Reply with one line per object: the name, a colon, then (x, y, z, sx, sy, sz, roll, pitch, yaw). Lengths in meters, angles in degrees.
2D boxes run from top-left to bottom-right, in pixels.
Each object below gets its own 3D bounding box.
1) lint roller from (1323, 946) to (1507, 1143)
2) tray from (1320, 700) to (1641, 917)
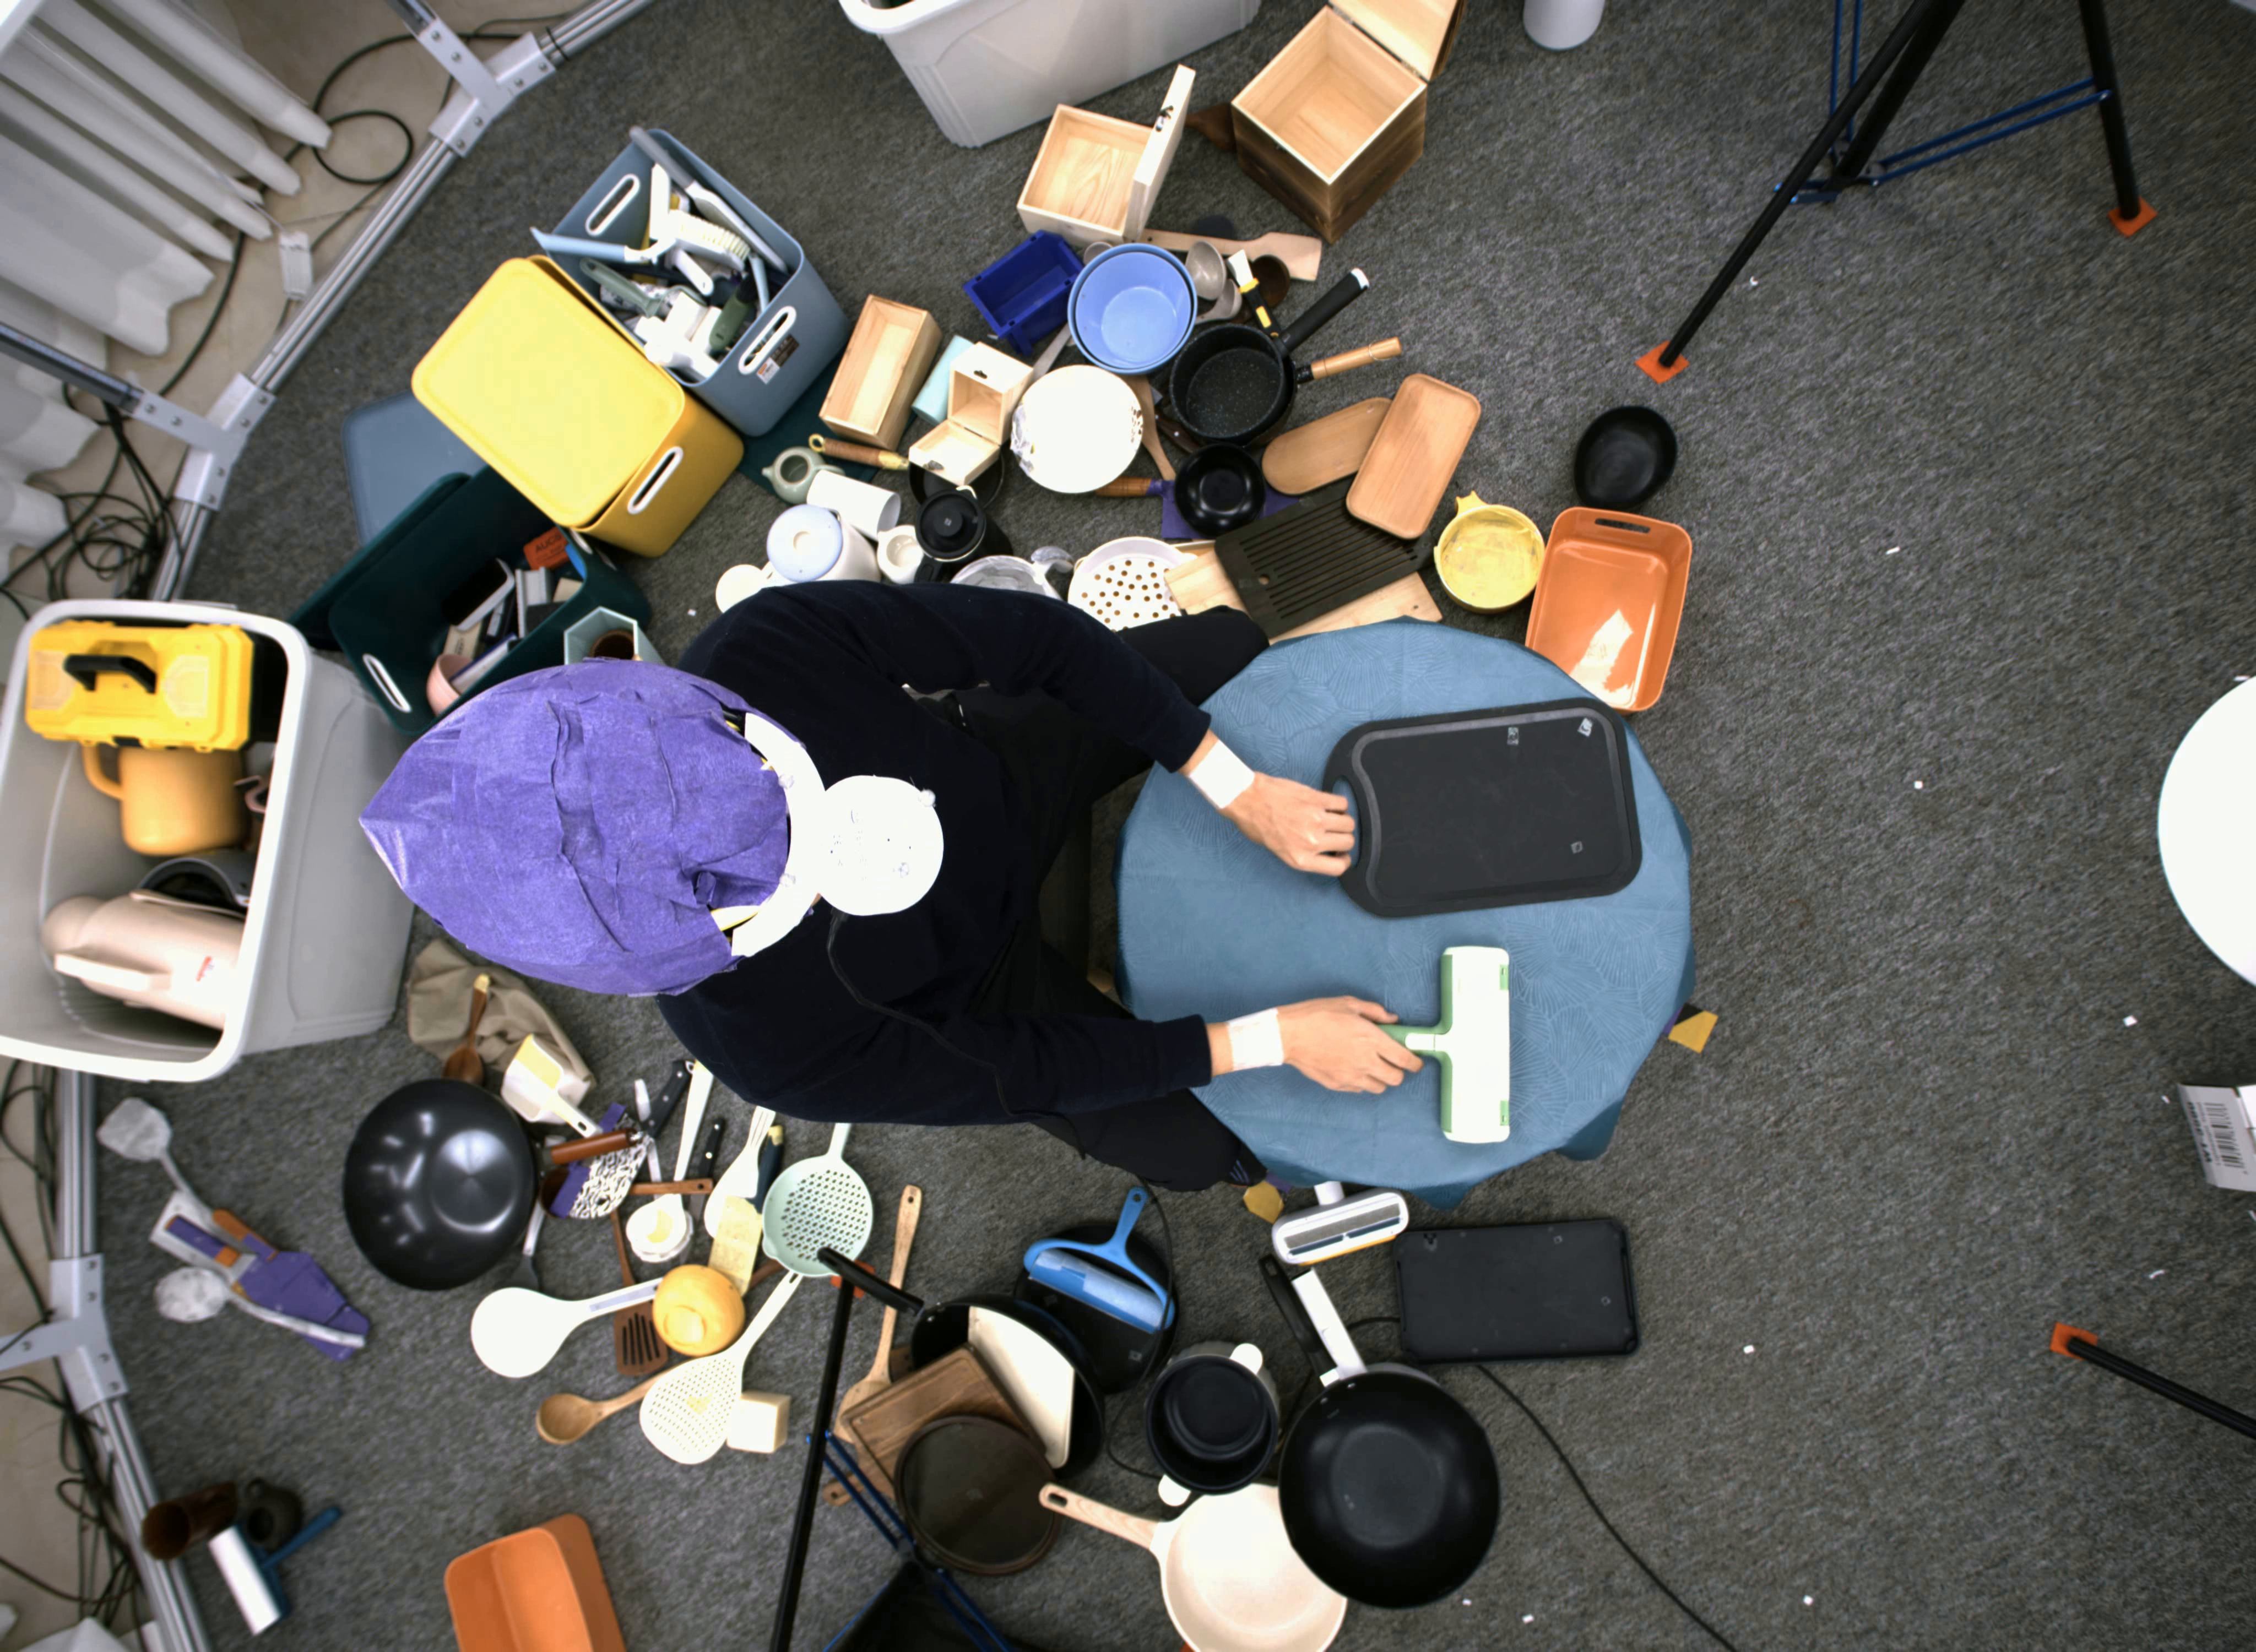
lint roller: (0.292, 0.219, 1.404, 0.184, 0.082, 0.197, 0, 86, 4)
tray: (0.365, -0.020, 1.441, 0.327, 0.010, 0.210, -6, 85, 8)
